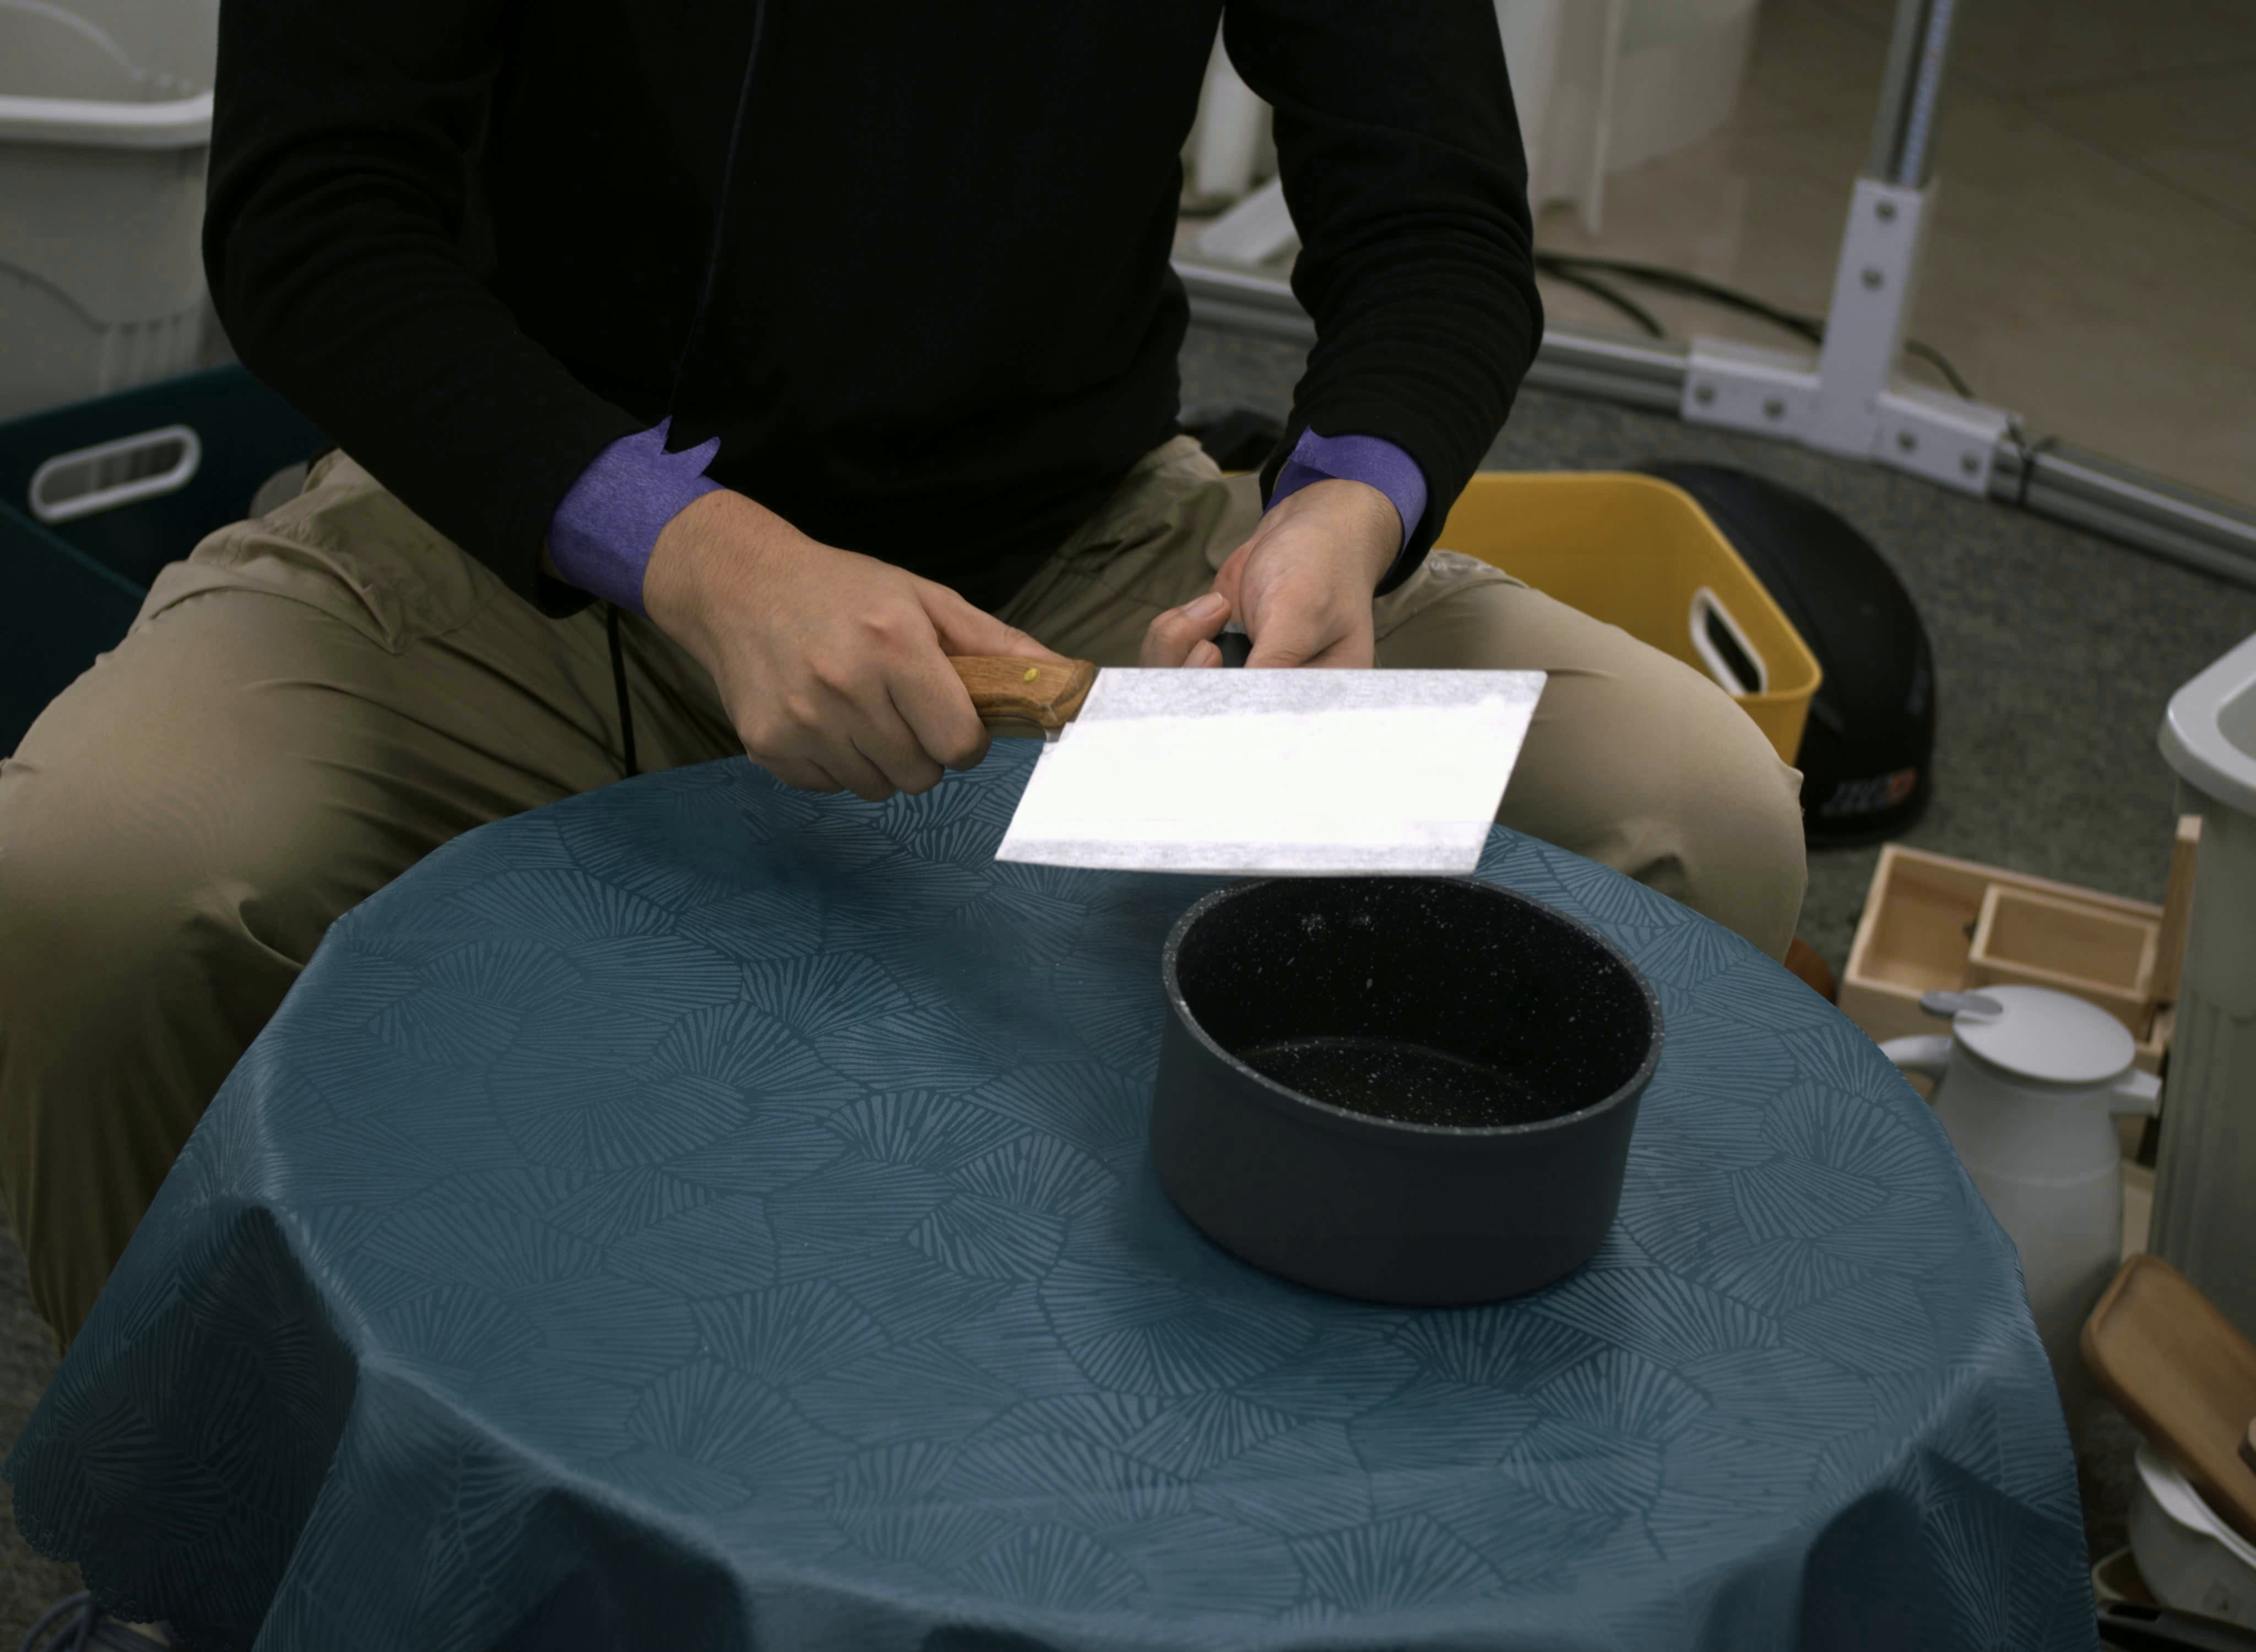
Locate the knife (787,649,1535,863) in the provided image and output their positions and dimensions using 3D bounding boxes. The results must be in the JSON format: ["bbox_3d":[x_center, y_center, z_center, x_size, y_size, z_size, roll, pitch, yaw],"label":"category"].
[{"bbox_3d":[0.000,-0.024,1.892,0.307,0.021,0.093,1,52,31],"label":"knife"}]

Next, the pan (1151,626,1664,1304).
[{"bbox_3d":[0.074,0.045,1.872,0.171,0.086,0.331,0,31,-14],"label":"pan"}]
